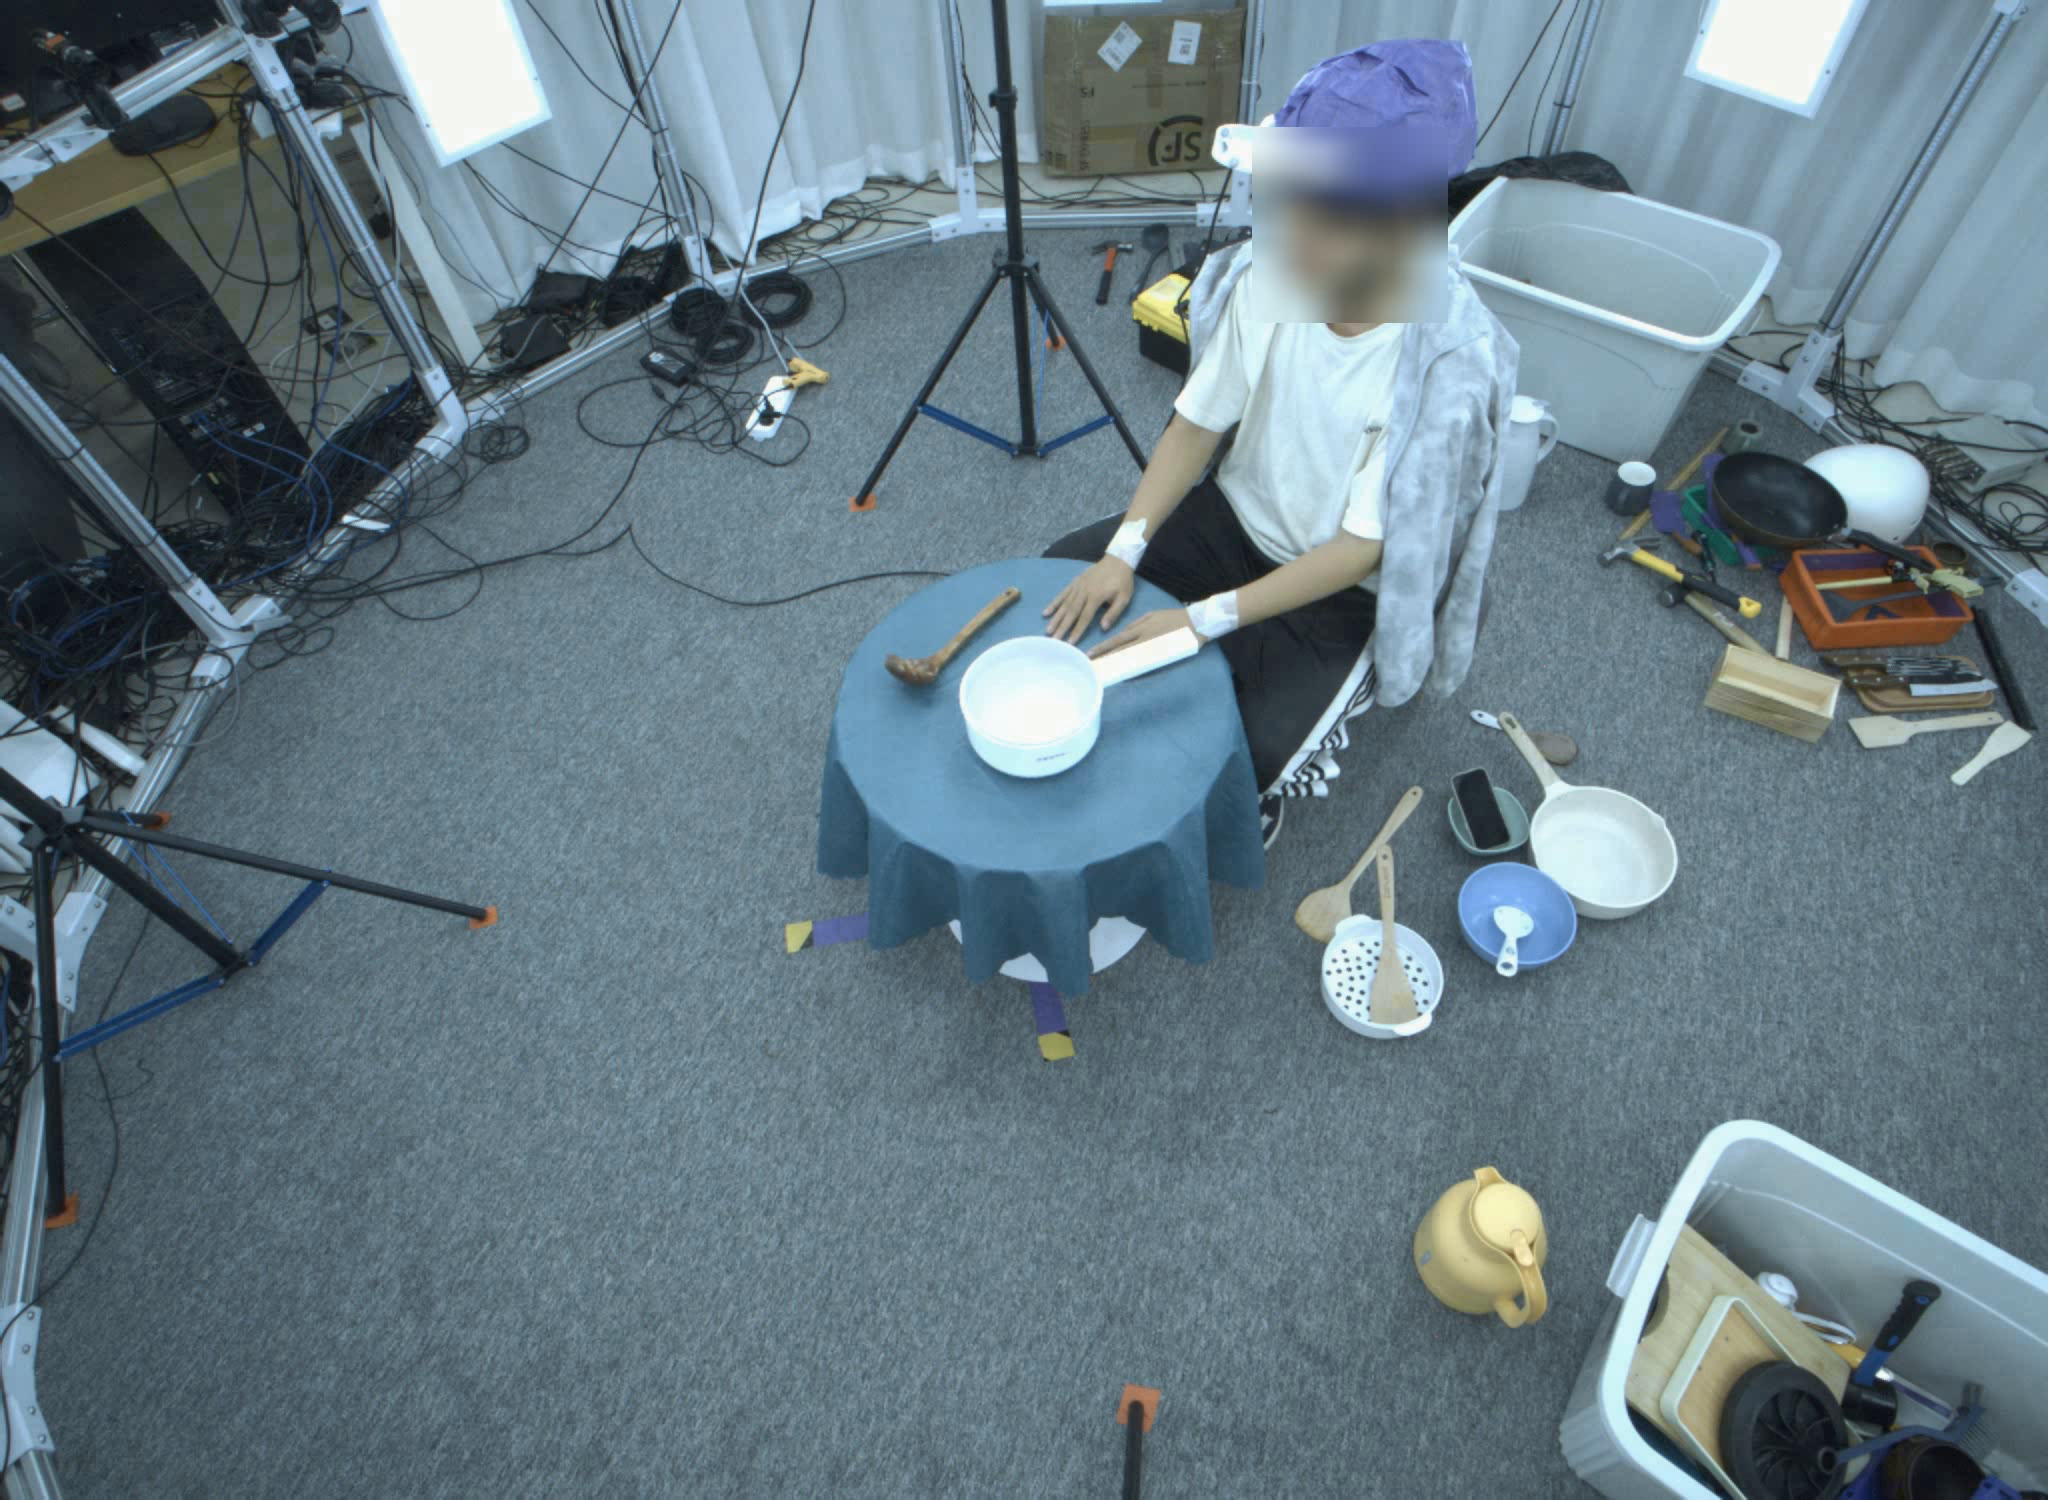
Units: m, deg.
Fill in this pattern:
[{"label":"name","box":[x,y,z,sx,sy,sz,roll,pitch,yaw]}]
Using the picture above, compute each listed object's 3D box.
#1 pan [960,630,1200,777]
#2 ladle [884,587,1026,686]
[{"label":"pan","box":[0.084,-0.082,1.784,0.357,0.103,0.197,-19,55,-12]},{"label":"ladle","box":[-0.102,-0.191,1.879,0.080,0.077,0.276,35,64,25]}]
